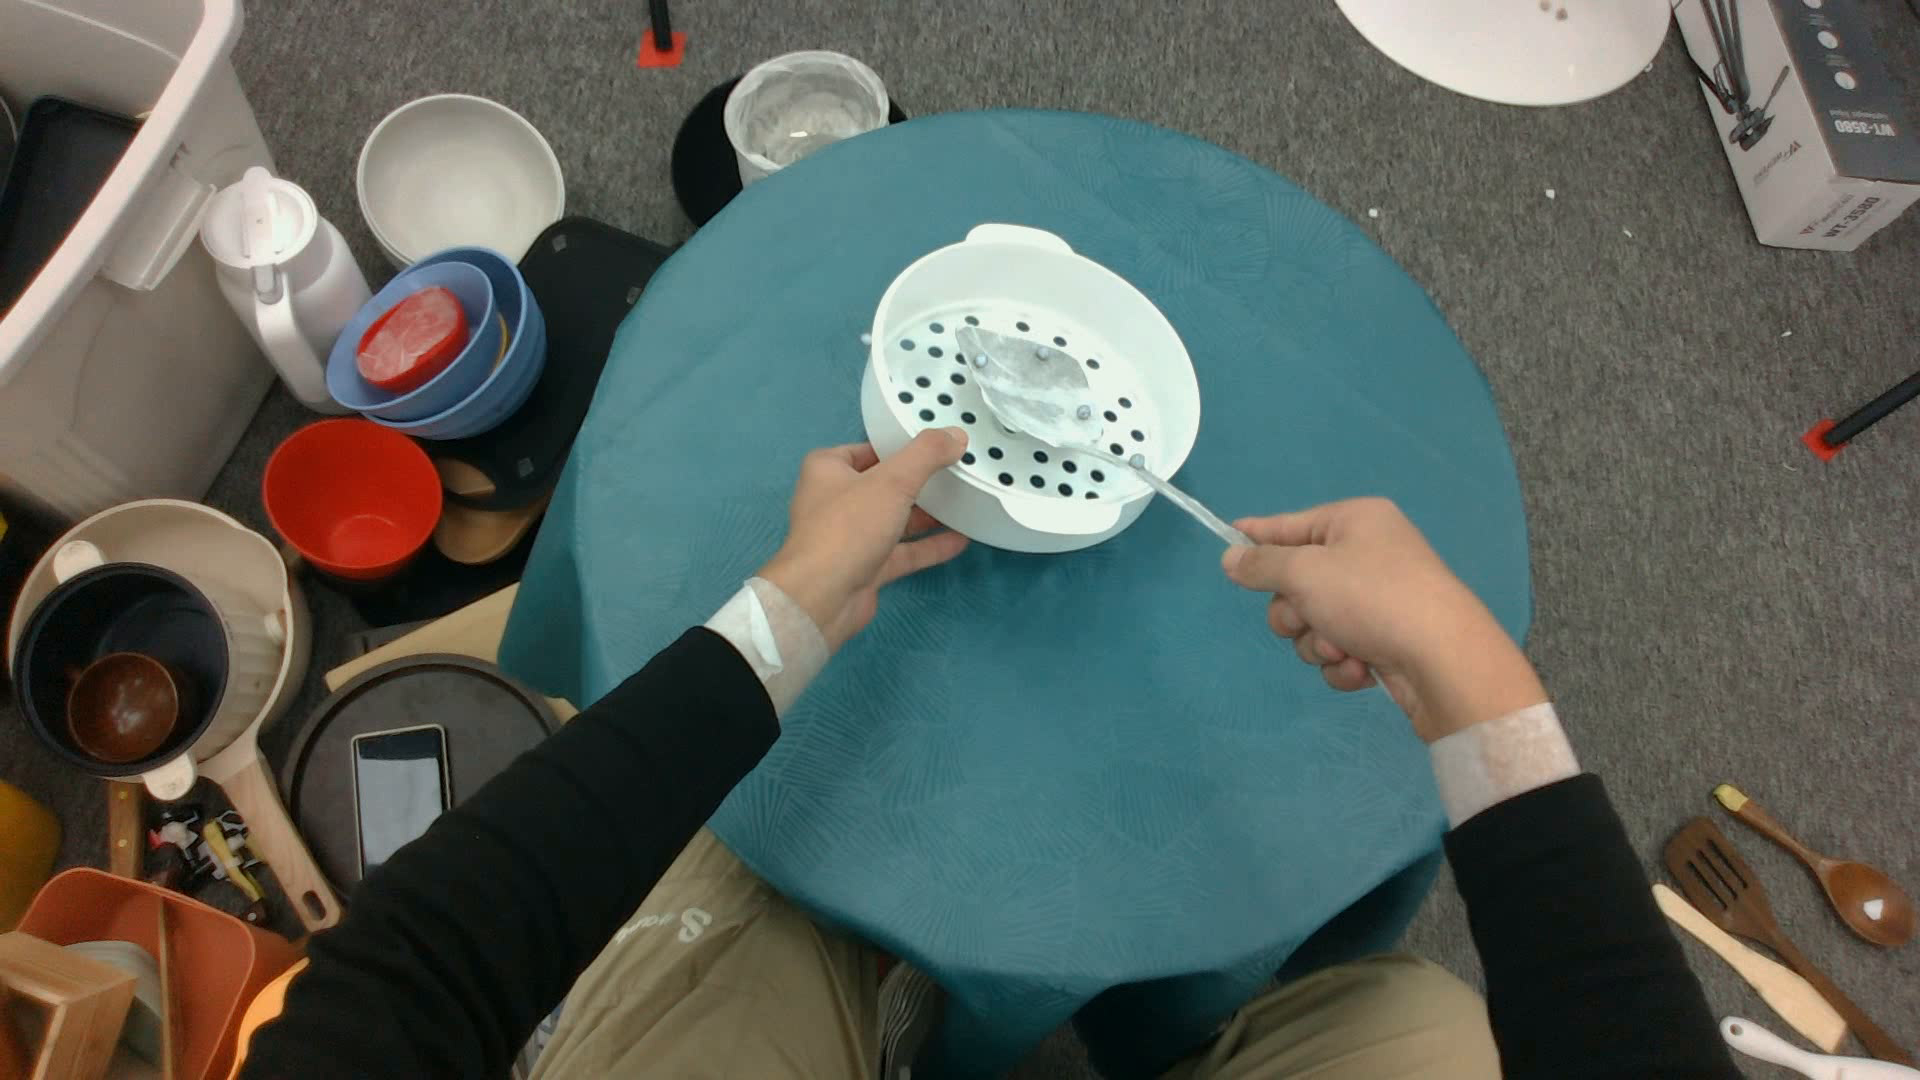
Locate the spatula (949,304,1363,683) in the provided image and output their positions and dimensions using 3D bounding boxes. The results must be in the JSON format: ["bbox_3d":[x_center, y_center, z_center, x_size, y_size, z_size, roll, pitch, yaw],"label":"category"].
[{"bbox_3d":[0.101,-0.039,0.724,0.099,0.044,0.365,11,21,-35],"label":"spatula"}]

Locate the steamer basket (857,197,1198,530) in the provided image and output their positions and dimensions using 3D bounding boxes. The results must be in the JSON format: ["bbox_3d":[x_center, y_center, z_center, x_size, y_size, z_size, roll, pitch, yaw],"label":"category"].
[{"bbox_3d":[0.038,-0.100,0.826,0.202,0.069,0.231,4,59,-15],"label":"steamer basket"}]
